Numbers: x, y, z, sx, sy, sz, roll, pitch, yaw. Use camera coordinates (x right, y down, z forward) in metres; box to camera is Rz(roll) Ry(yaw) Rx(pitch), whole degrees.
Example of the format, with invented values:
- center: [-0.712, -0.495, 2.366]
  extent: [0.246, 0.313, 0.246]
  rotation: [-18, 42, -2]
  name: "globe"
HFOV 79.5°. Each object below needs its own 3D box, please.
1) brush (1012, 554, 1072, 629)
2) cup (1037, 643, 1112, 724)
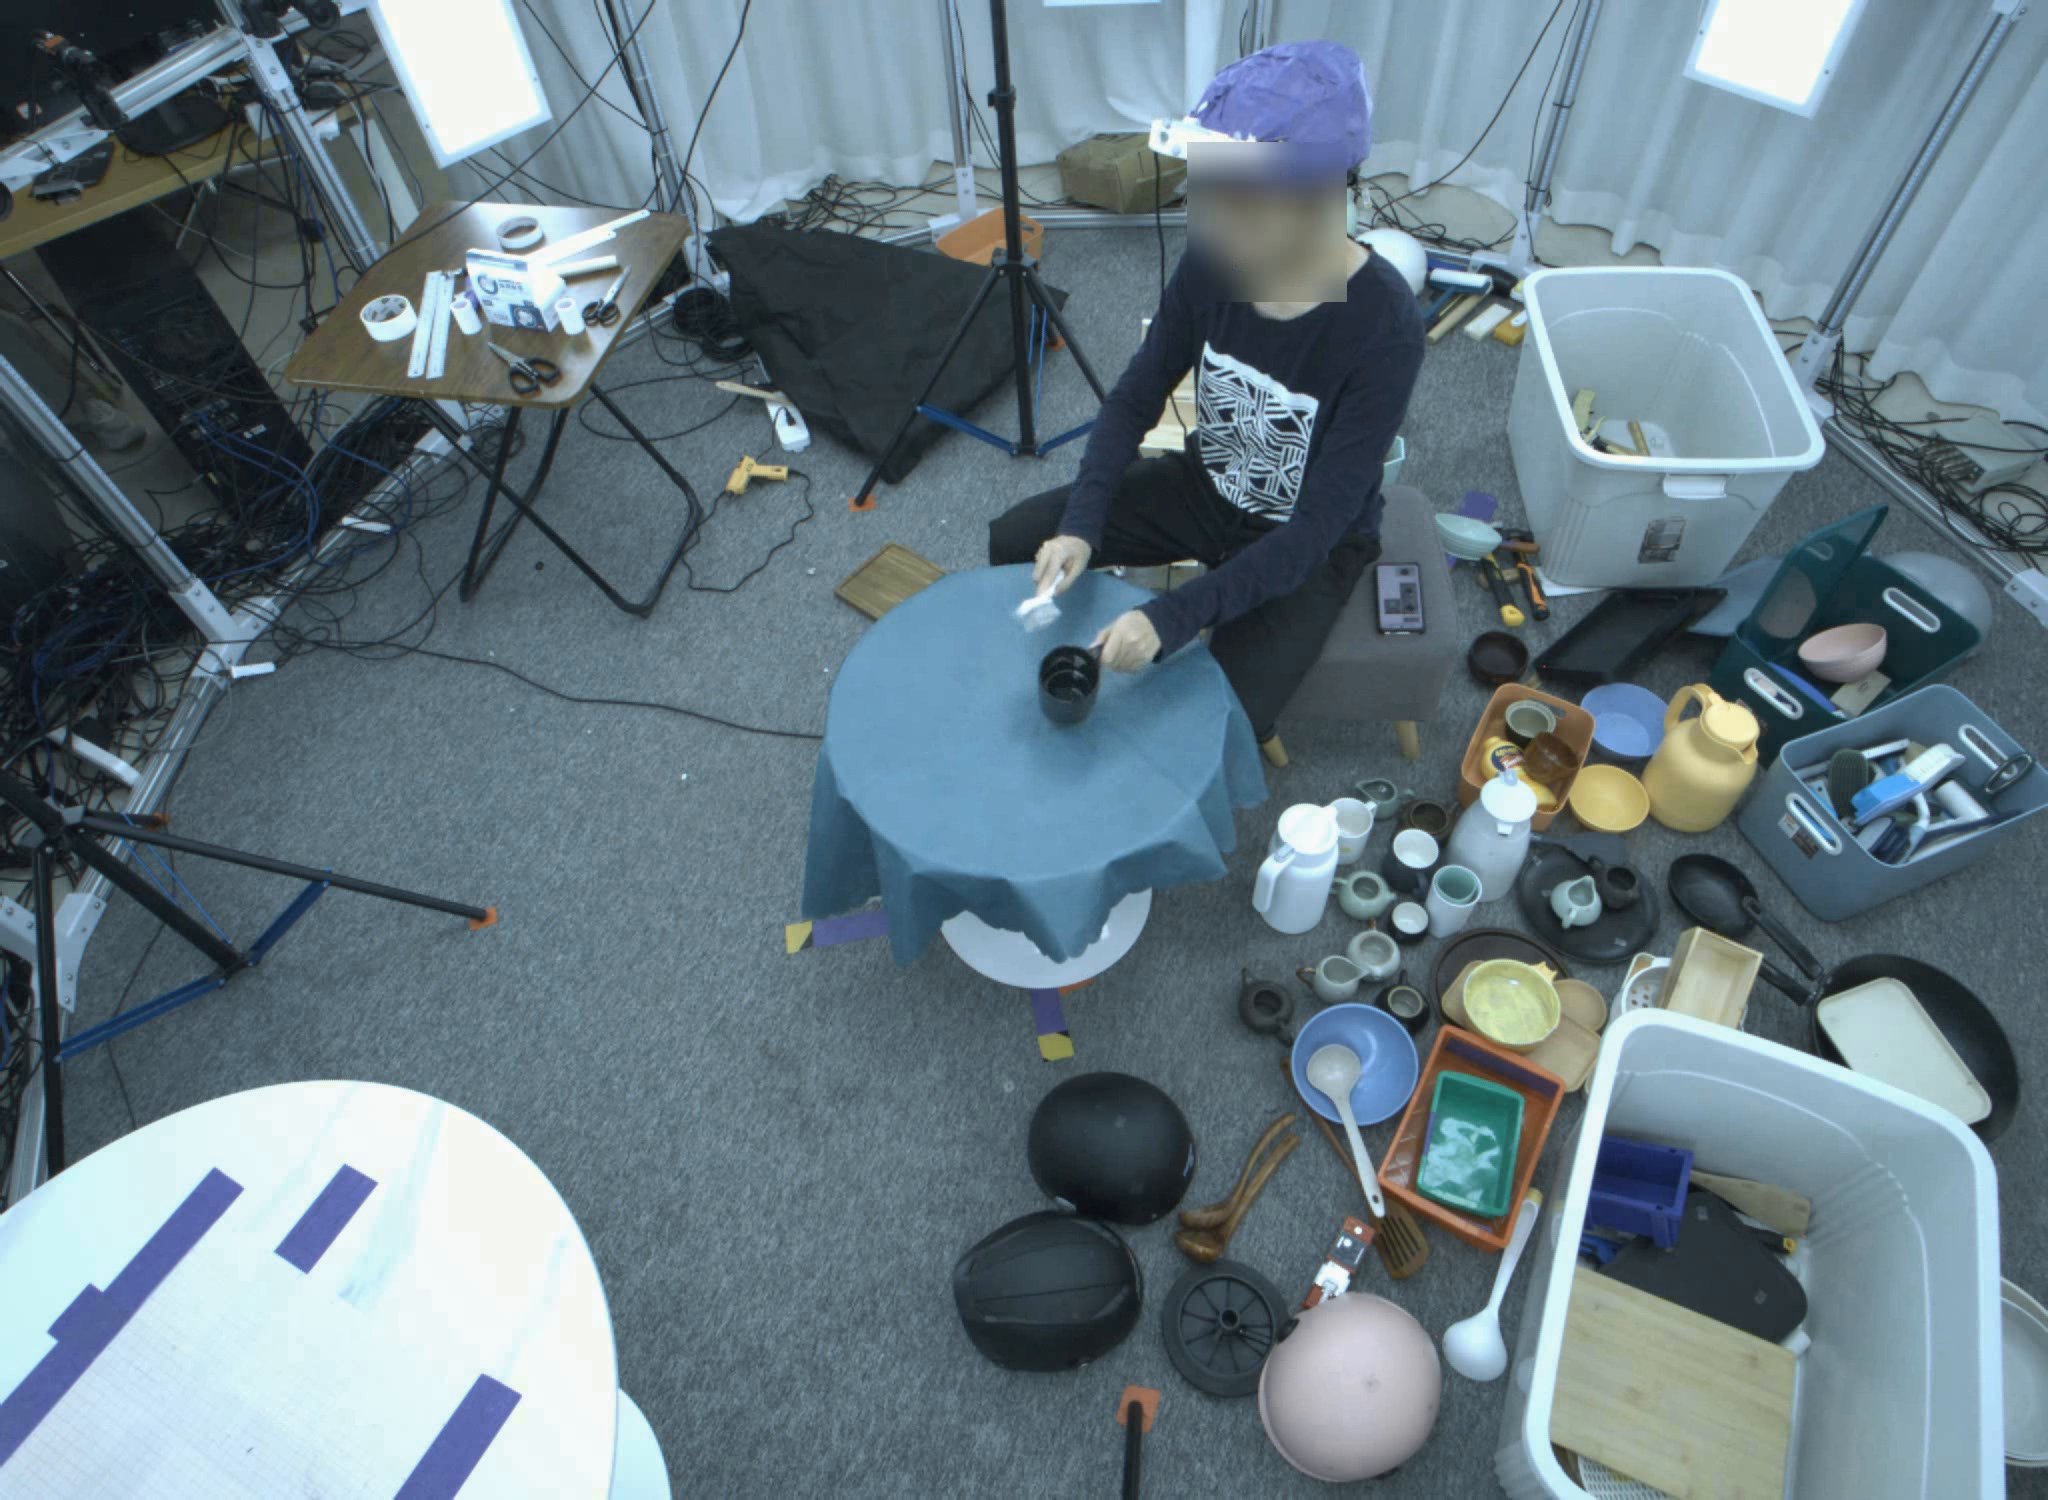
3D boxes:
- center: [0.044, -0.238, 1.830]
  extent: [0.050, 0.034, 0.244]
  rotation: [37, 33, 0]
  name: "brush"
- center: [0.077, -0.105, 1.769]
  extent: [0.124, 0.106, 0.088]
  rotation: [-41, 76, -12]
  name: "cup"
